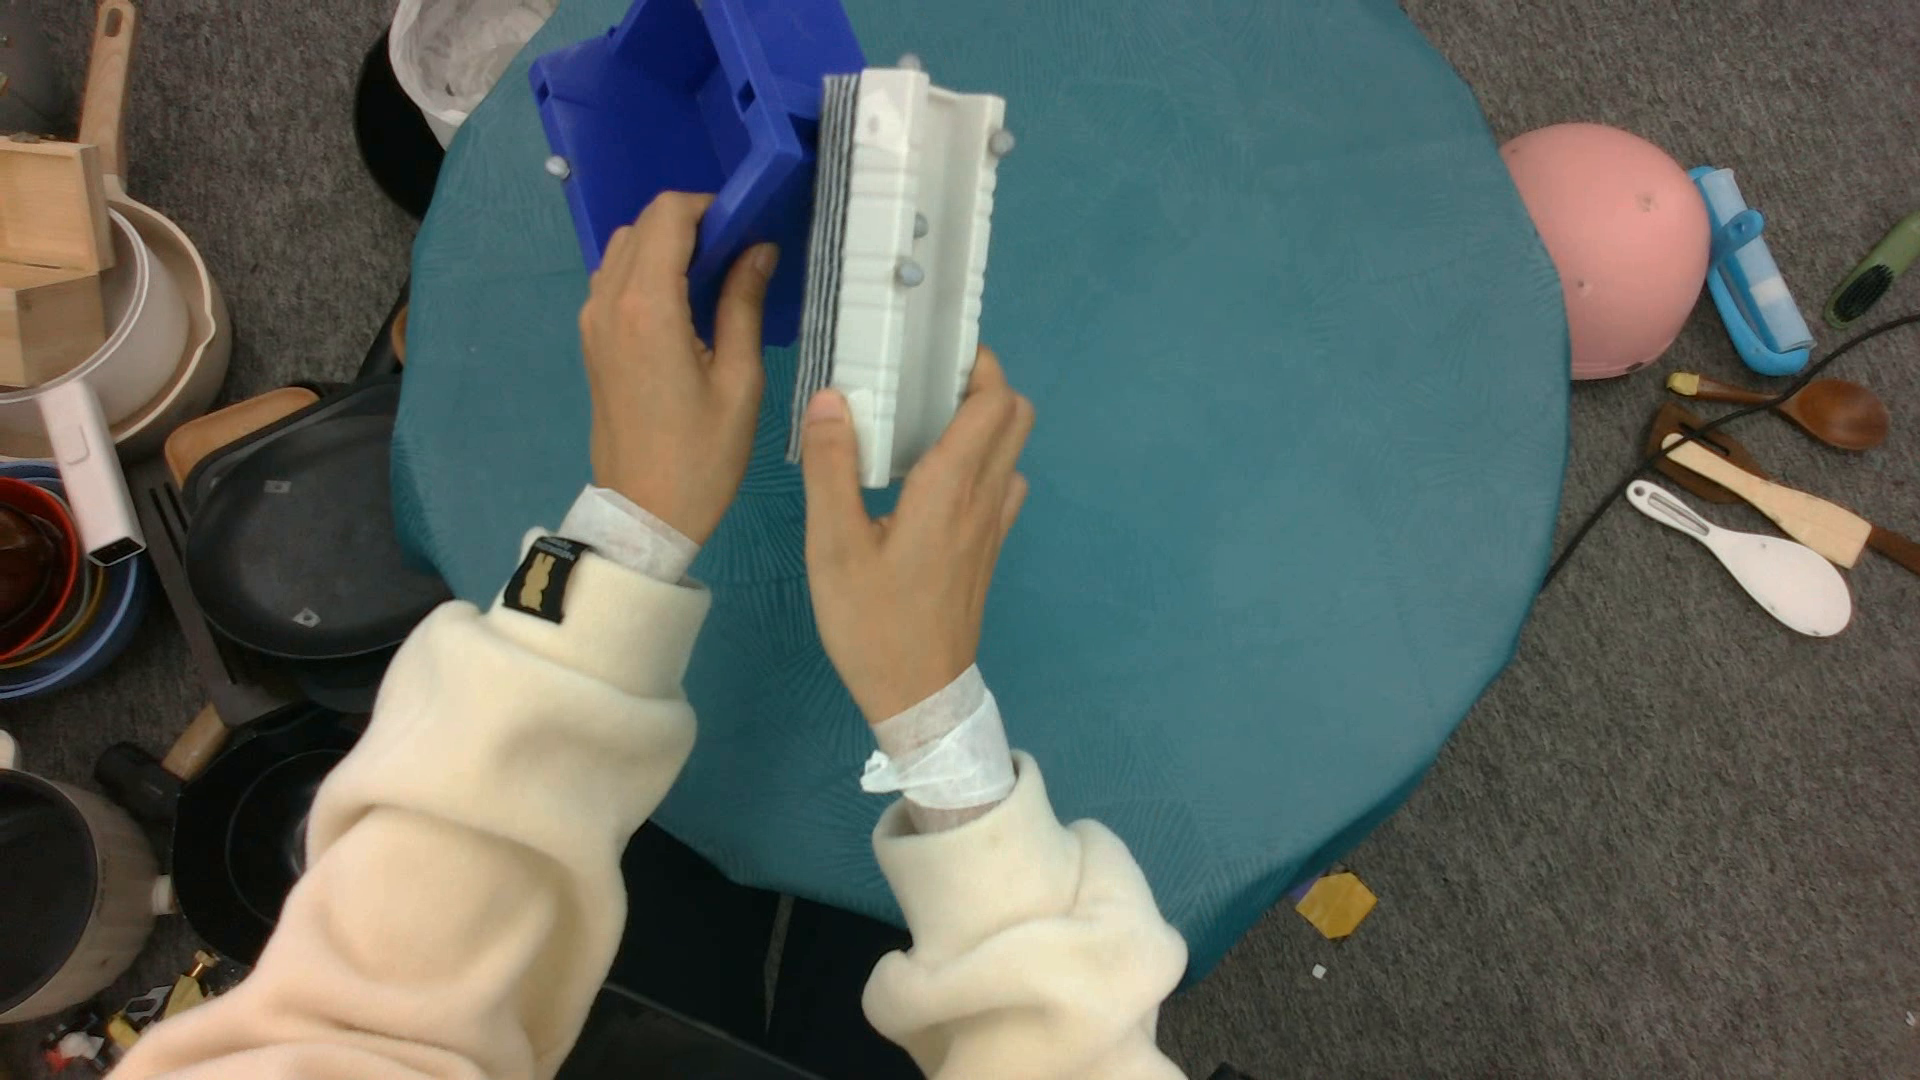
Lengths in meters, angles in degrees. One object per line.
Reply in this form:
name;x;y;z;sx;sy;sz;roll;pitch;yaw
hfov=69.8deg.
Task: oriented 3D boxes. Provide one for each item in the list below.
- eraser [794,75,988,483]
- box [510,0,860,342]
eraser;-0.026;-0.090;0.483;0.046;0.050;0.134;11;103;36
box;-0.107;-0.183;0.553;0.082;0.124;0.180;-1;61;-45
